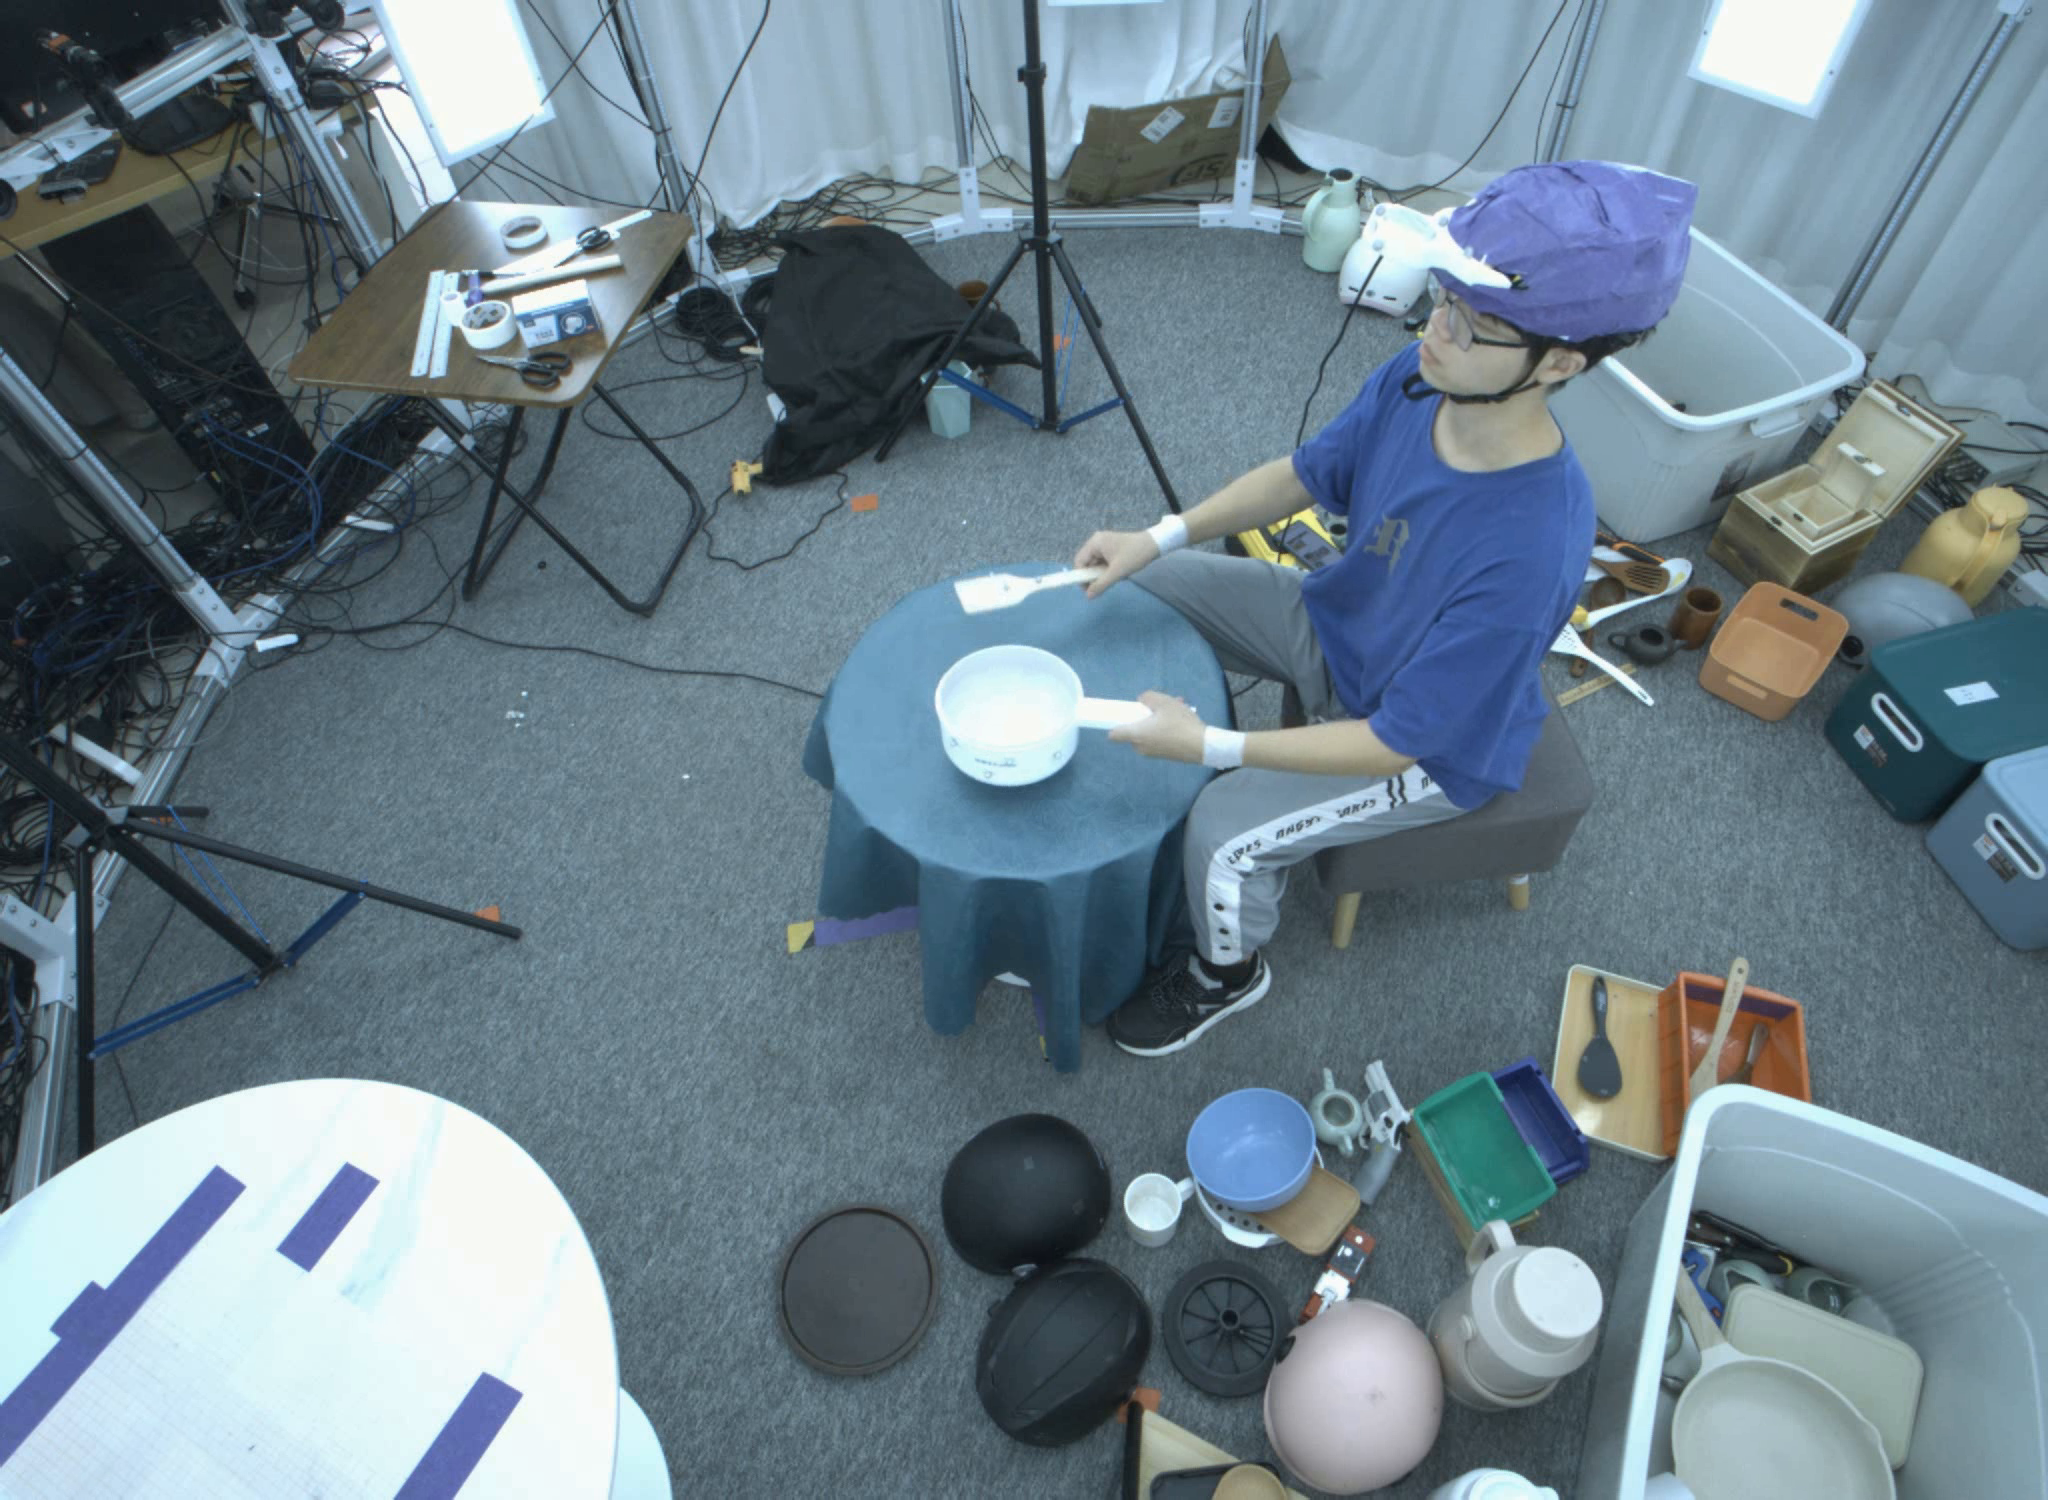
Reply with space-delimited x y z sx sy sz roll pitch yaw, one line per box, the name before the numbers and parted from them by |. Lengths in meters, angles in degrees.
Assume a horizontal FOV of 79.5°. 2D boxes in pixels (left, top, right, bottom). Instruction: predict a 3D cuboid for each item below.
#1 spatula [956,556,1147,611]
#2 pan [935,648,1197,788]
spatula | 0.045 -0.257 1.834 0.296 0.011 0.071 -13 51 -15
pan | 0.057 -0.033 1.691 0.353 0.103 0.200 6 46 6
